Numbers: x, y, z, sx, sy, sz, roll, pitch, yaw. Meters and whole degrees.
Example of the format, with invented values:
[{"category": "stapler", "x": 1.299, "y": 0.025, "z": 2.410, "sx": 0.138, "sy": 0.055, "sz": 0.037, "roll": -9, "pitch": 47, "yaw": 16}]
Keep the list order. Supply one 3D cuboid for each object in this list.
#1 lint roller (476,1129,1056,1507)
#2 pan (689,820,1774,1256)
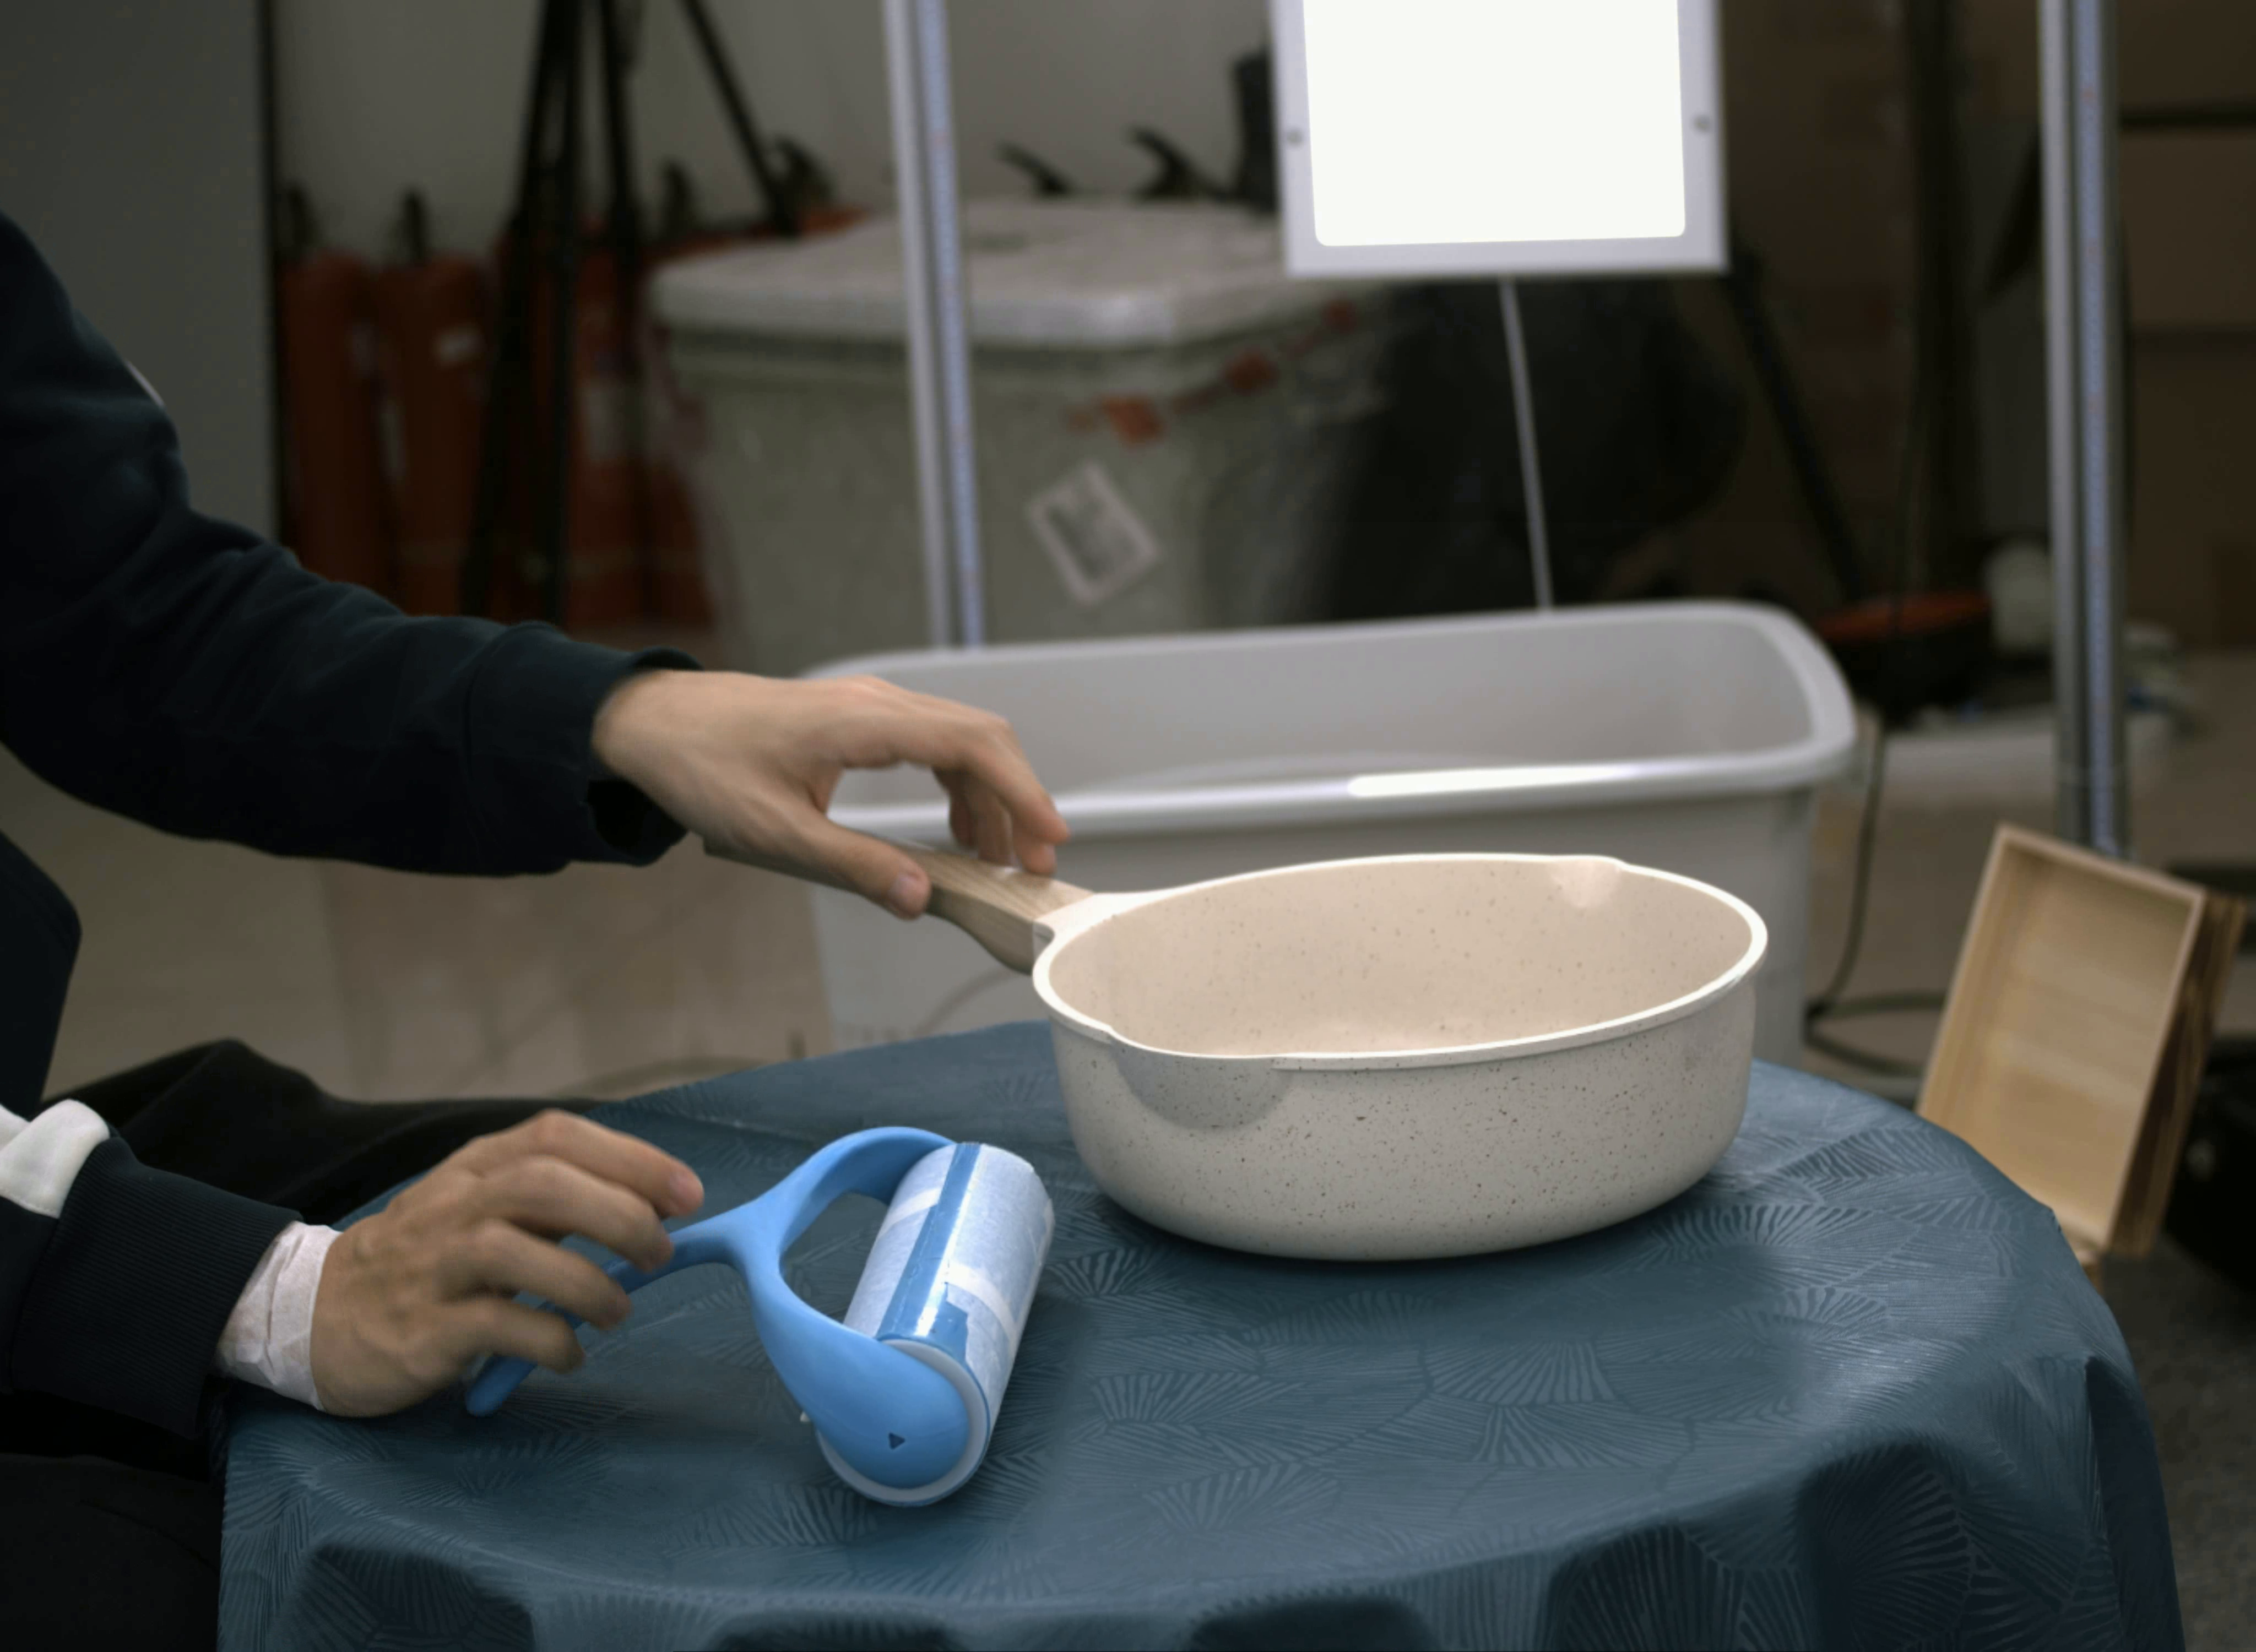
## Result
[{"category": "lint roller", "x": -0.116, "y": 0.153, "z": 1.710, "sx": 0.180, "sy": 0.068, "sz": 0.228, "roll": -3, "pitch": 15, "yaw": 4}, {"category": "pan", "x": 0.023, "y": 0.063, "z": 1.932, "sx": 0.444, "sy": 0.102, "sz": 0.257, "roll": 5, "pitch": 18, "yaw": 37}]
